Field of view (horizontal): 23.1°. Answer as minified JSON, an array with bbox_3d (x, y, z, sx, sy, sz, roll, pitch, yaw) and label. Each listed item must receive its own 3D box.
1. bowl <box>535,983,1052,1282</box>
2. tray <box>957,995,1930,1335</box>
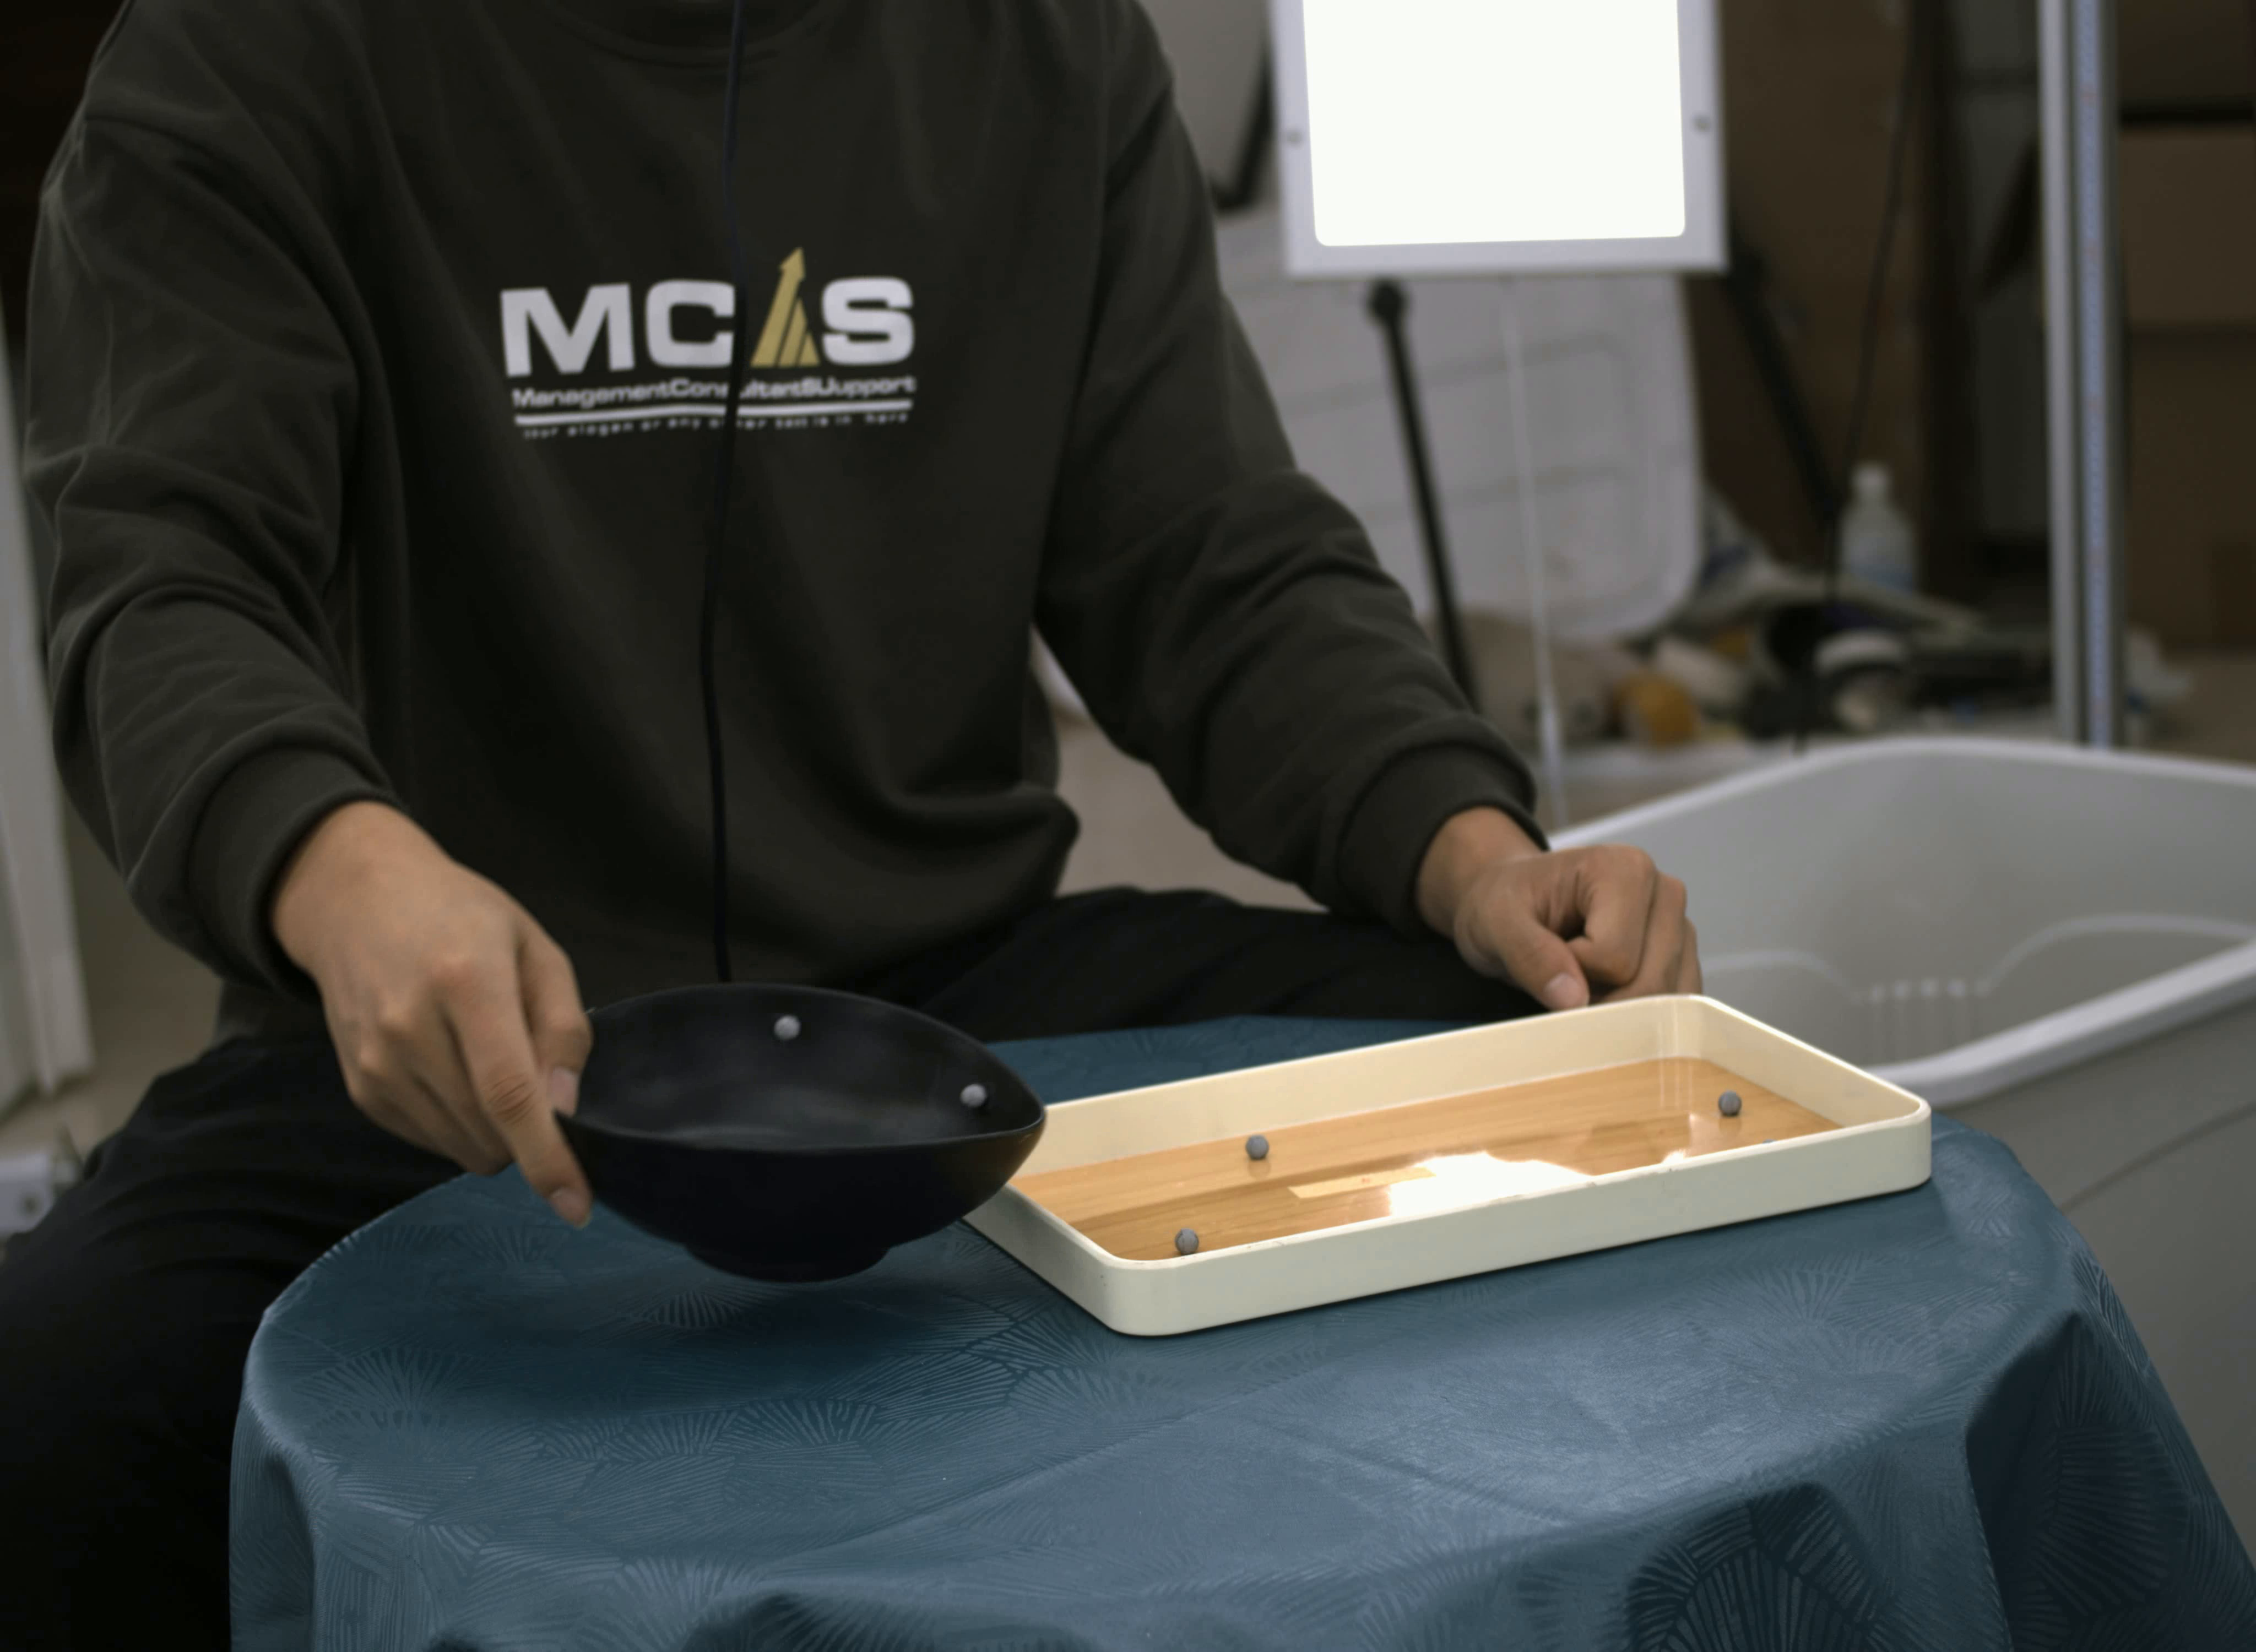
[{"bbox_3d":[-0.111,0.105,1.800,0.168,0.067,0.138,2,21,-12],"label":"bowl"},{"bbox_3d":[0.103,0.112,1.866,0.295,0.027,0.194,-10,14,-18],"label":"tray"}]
